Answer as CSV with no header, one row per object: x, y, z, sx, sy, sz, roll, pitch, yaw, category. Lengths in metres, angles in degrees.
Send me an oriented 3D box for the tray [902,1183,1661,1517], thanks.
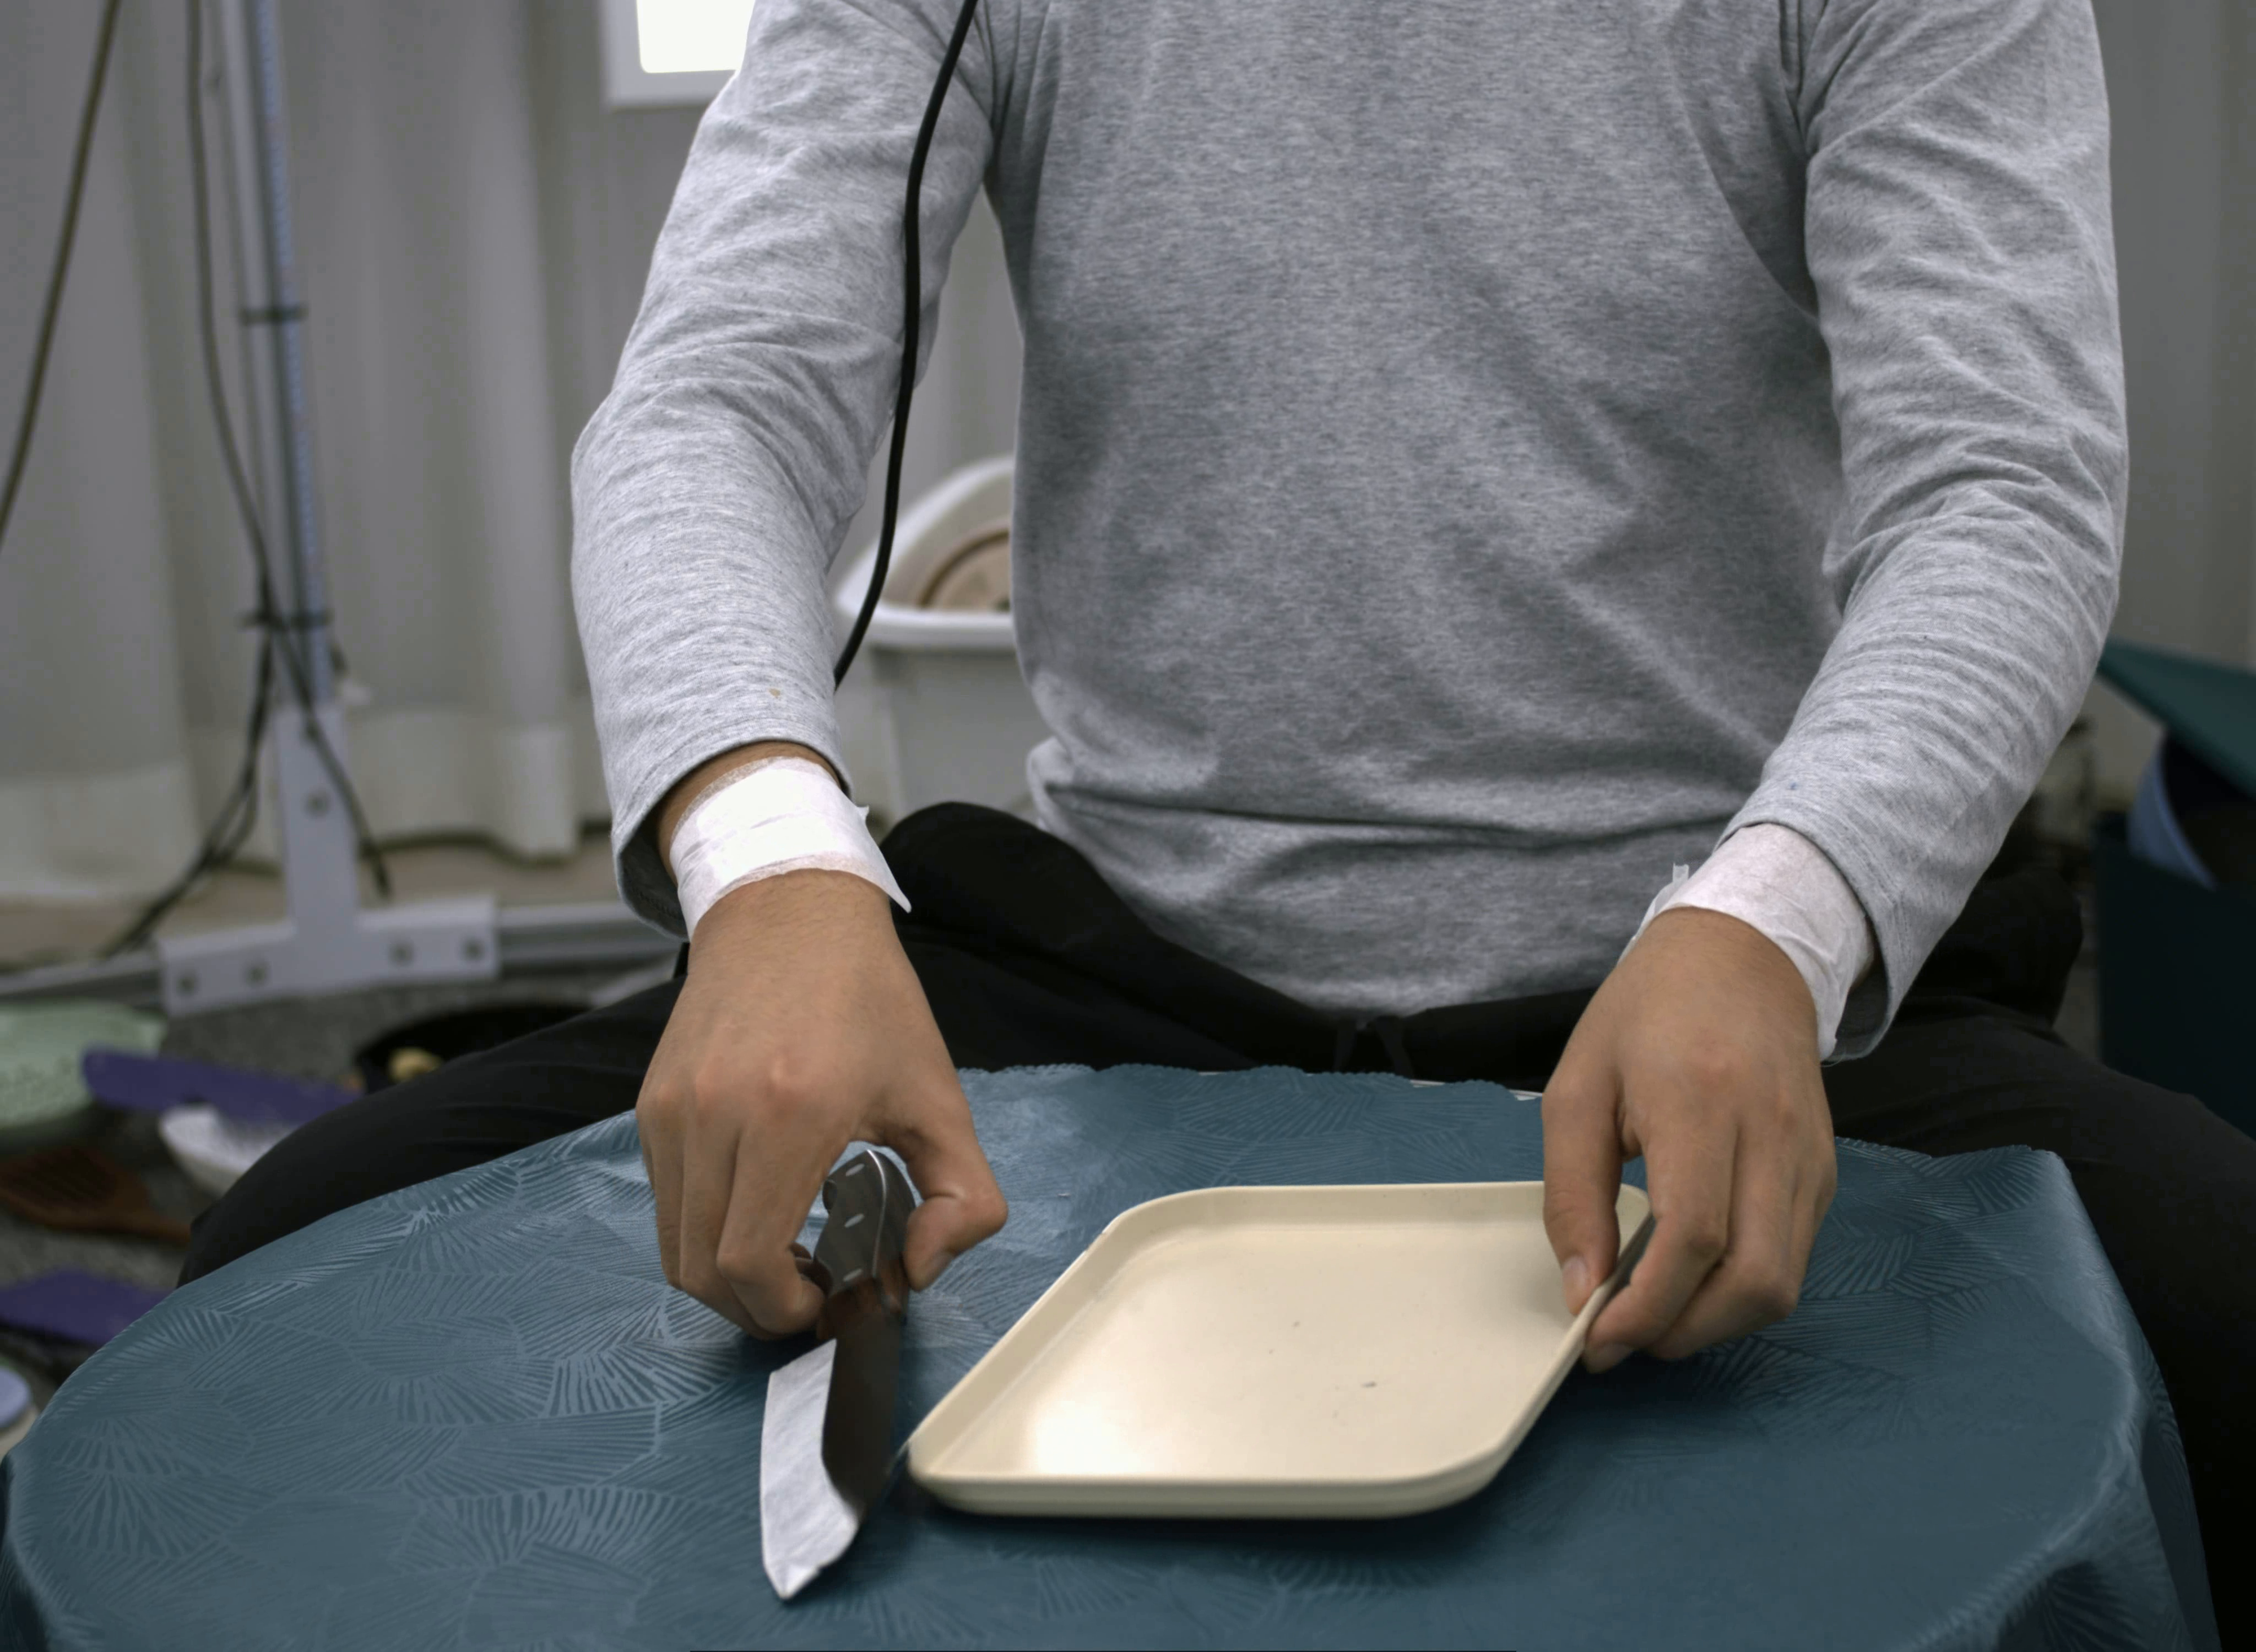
0.048,0.146,1.534,0.171,0.017,0.240,-2,14,20,tray

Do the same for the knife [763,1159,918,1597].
-0.080,0.153,1.541,0.050,0.020,0.291,-28,15,9,knife
